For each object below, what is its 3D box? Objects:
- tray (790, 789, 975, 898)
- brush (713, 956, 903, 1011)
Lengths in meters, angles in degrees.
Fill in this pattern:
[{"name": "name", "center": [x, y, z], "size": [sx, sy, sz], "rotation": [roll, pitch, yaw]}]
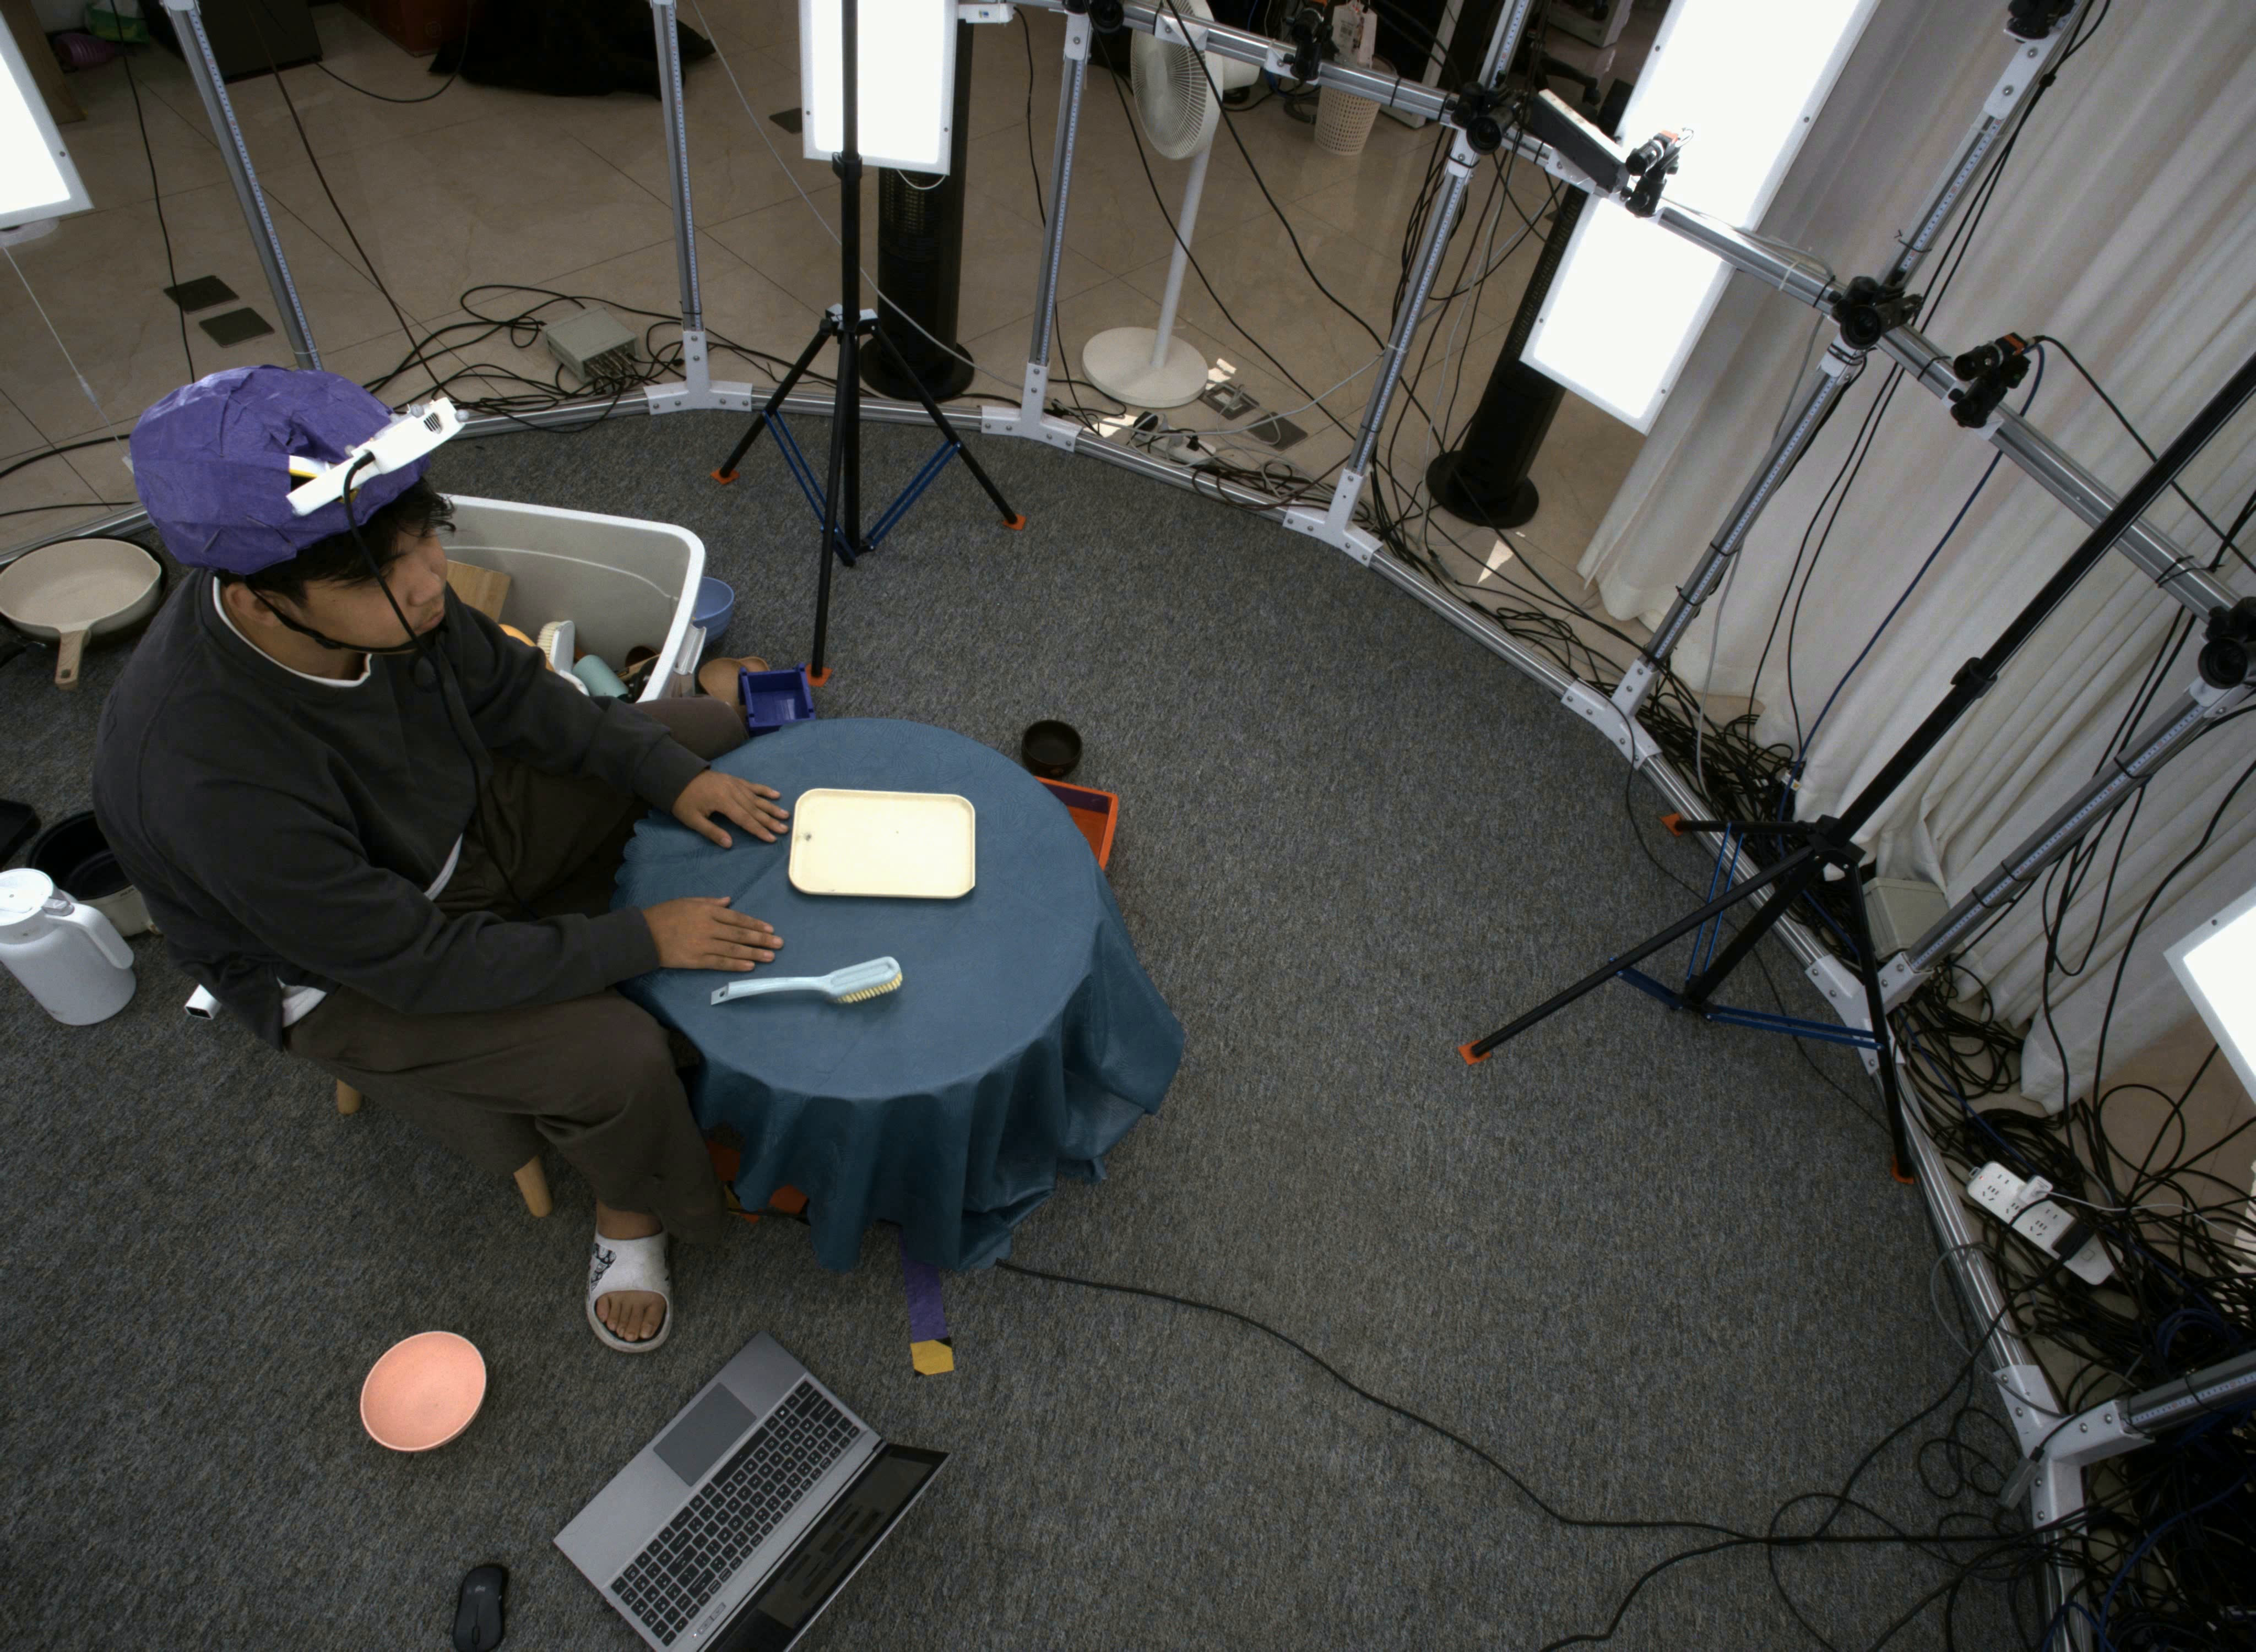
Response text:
[{"name": "tray", "center": [-0.321, 0.023, 1.717], "size": [0.239, 0.018, 0.168], "rotation": [3, 53, -12]}, {"name": "brush", "center": [-0.385, 0.196, 1.563], "size": [0.228, 0.051, 0.037], "rotation": [-9, 48, -9]}]
